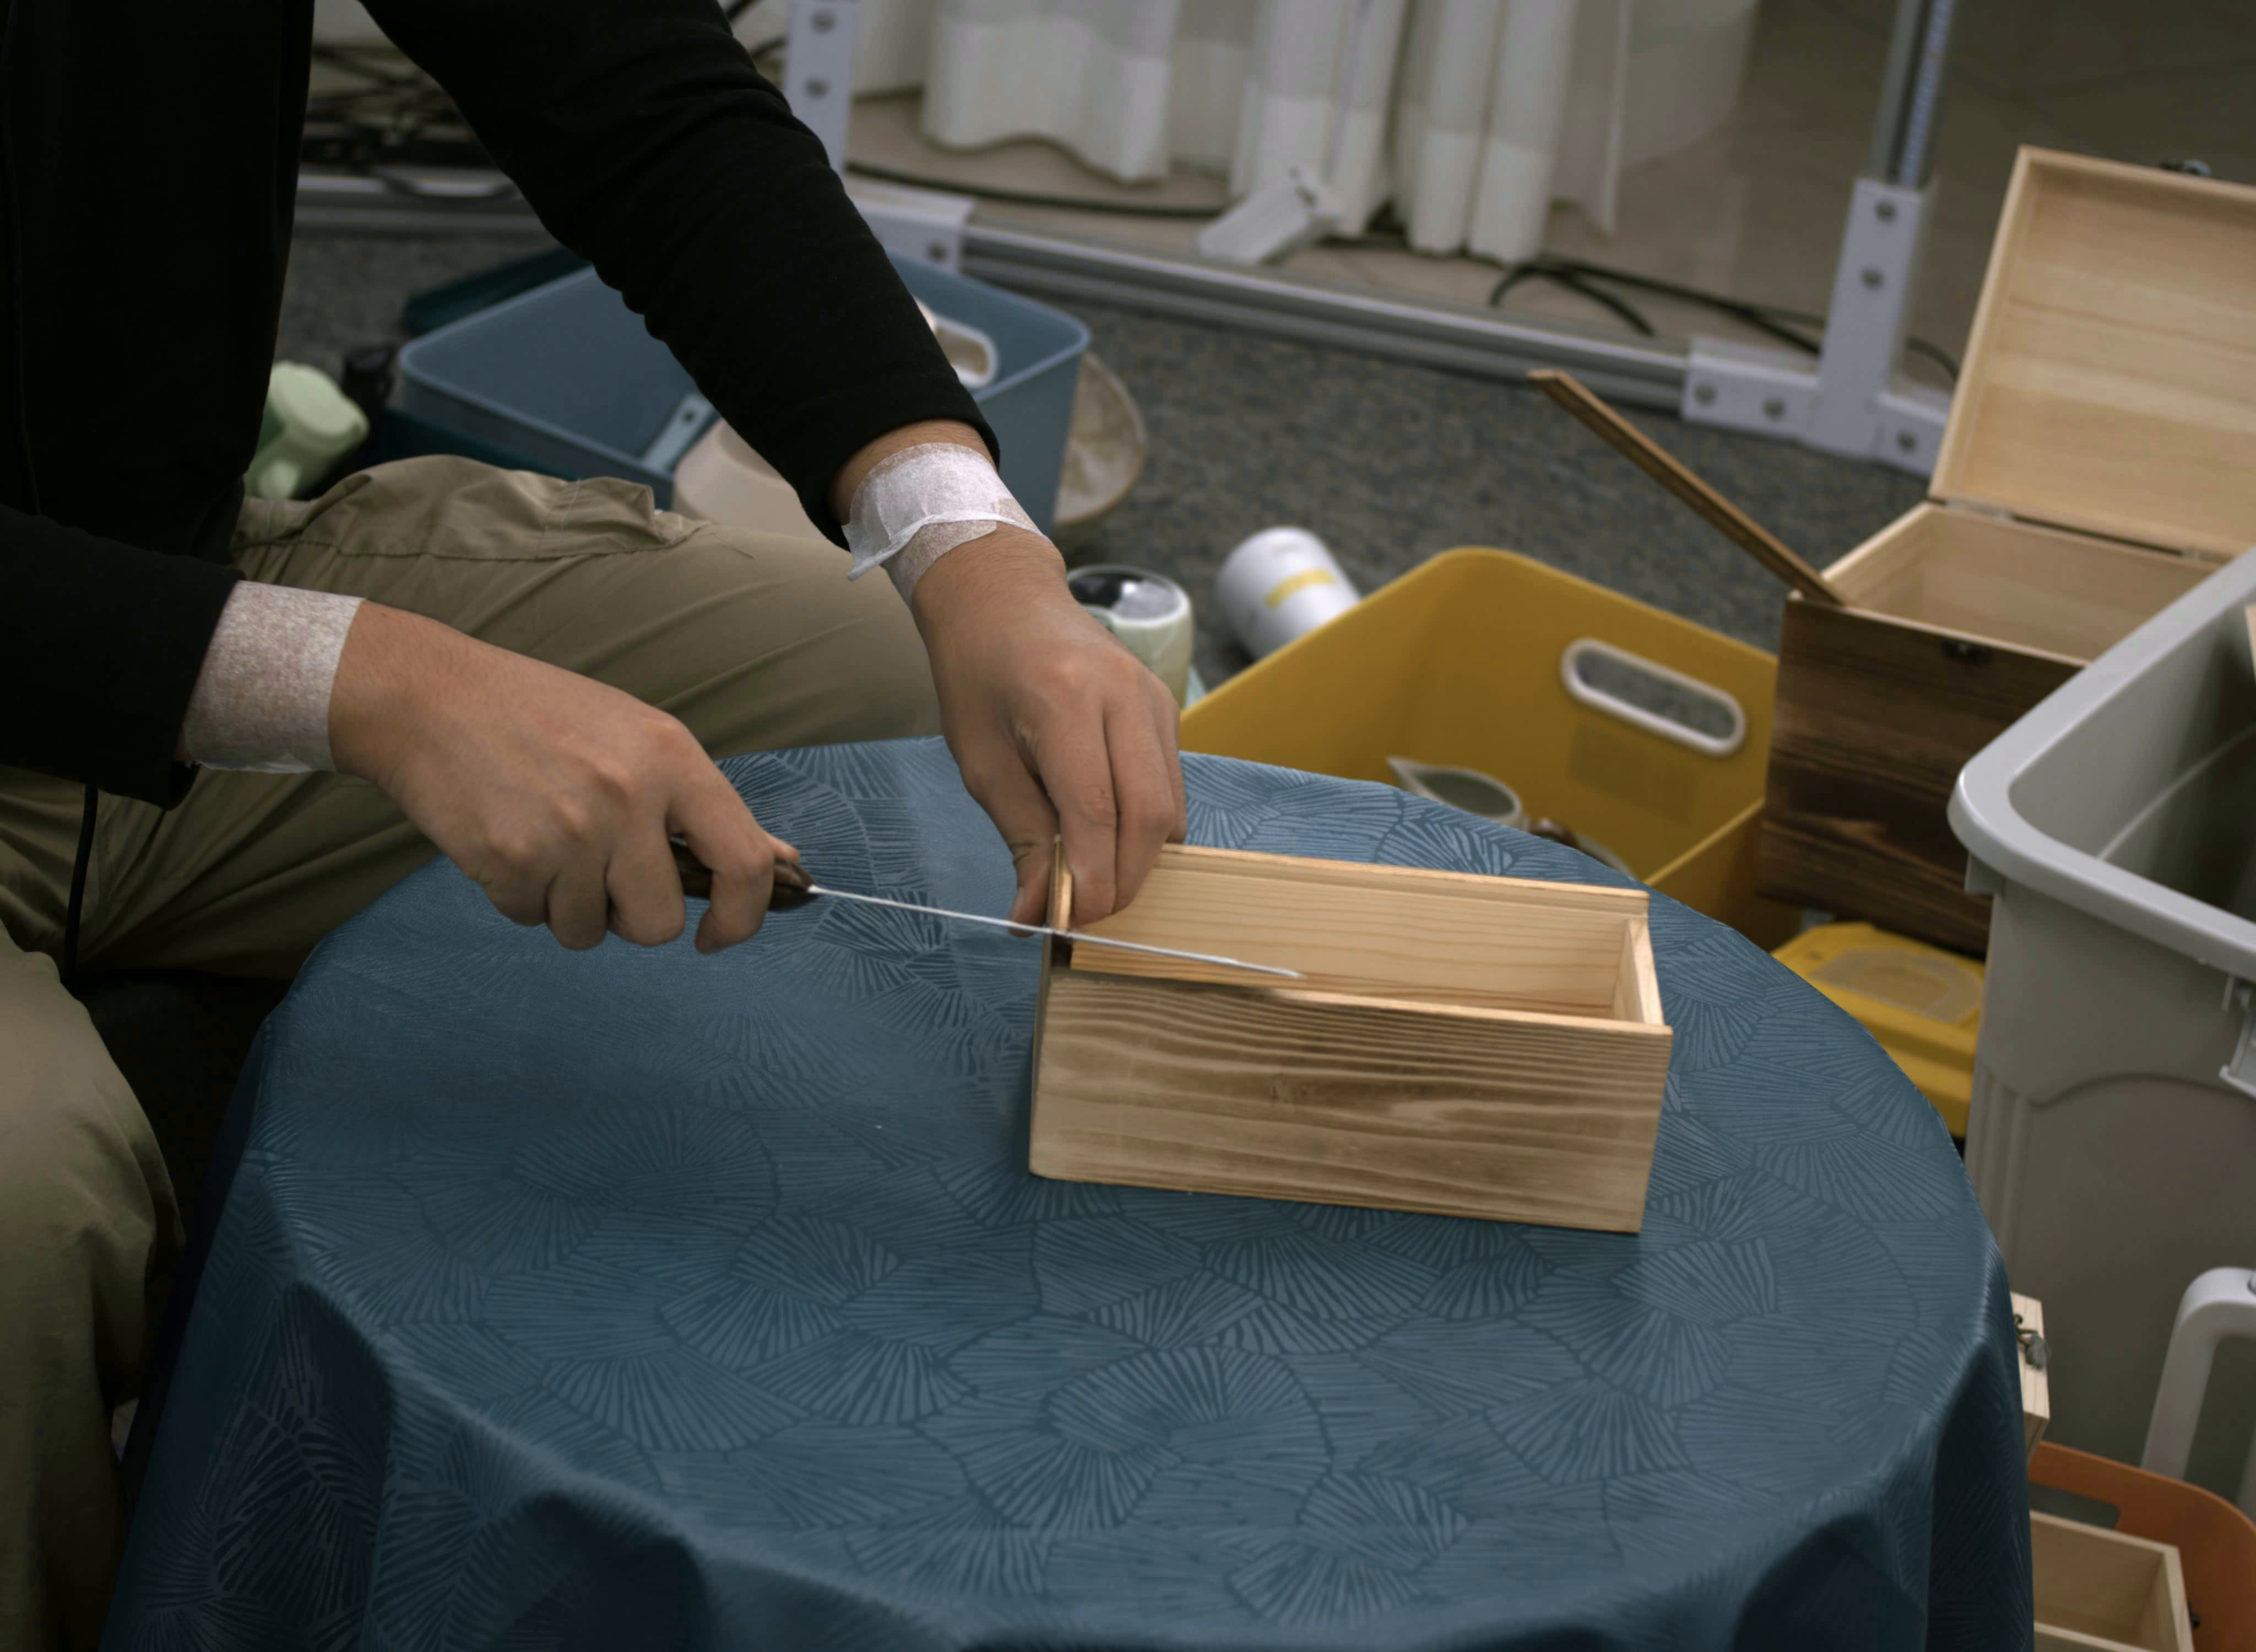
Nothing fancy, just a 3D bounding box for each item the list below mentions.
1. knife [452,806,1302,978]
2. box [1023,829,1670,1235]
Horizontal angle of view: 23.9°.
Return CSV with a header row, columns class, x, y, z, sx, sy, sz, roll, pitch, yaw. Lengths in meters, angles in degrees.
class,x,y,z,sx,sy,sz,roll,pitch,yaw
knife,-0.084,0.026,1.771,0.288,0.020,0.050,10,-1,2
box,0.073,0.070,1.835,0.211,0.080,0.108,6,26,-2
